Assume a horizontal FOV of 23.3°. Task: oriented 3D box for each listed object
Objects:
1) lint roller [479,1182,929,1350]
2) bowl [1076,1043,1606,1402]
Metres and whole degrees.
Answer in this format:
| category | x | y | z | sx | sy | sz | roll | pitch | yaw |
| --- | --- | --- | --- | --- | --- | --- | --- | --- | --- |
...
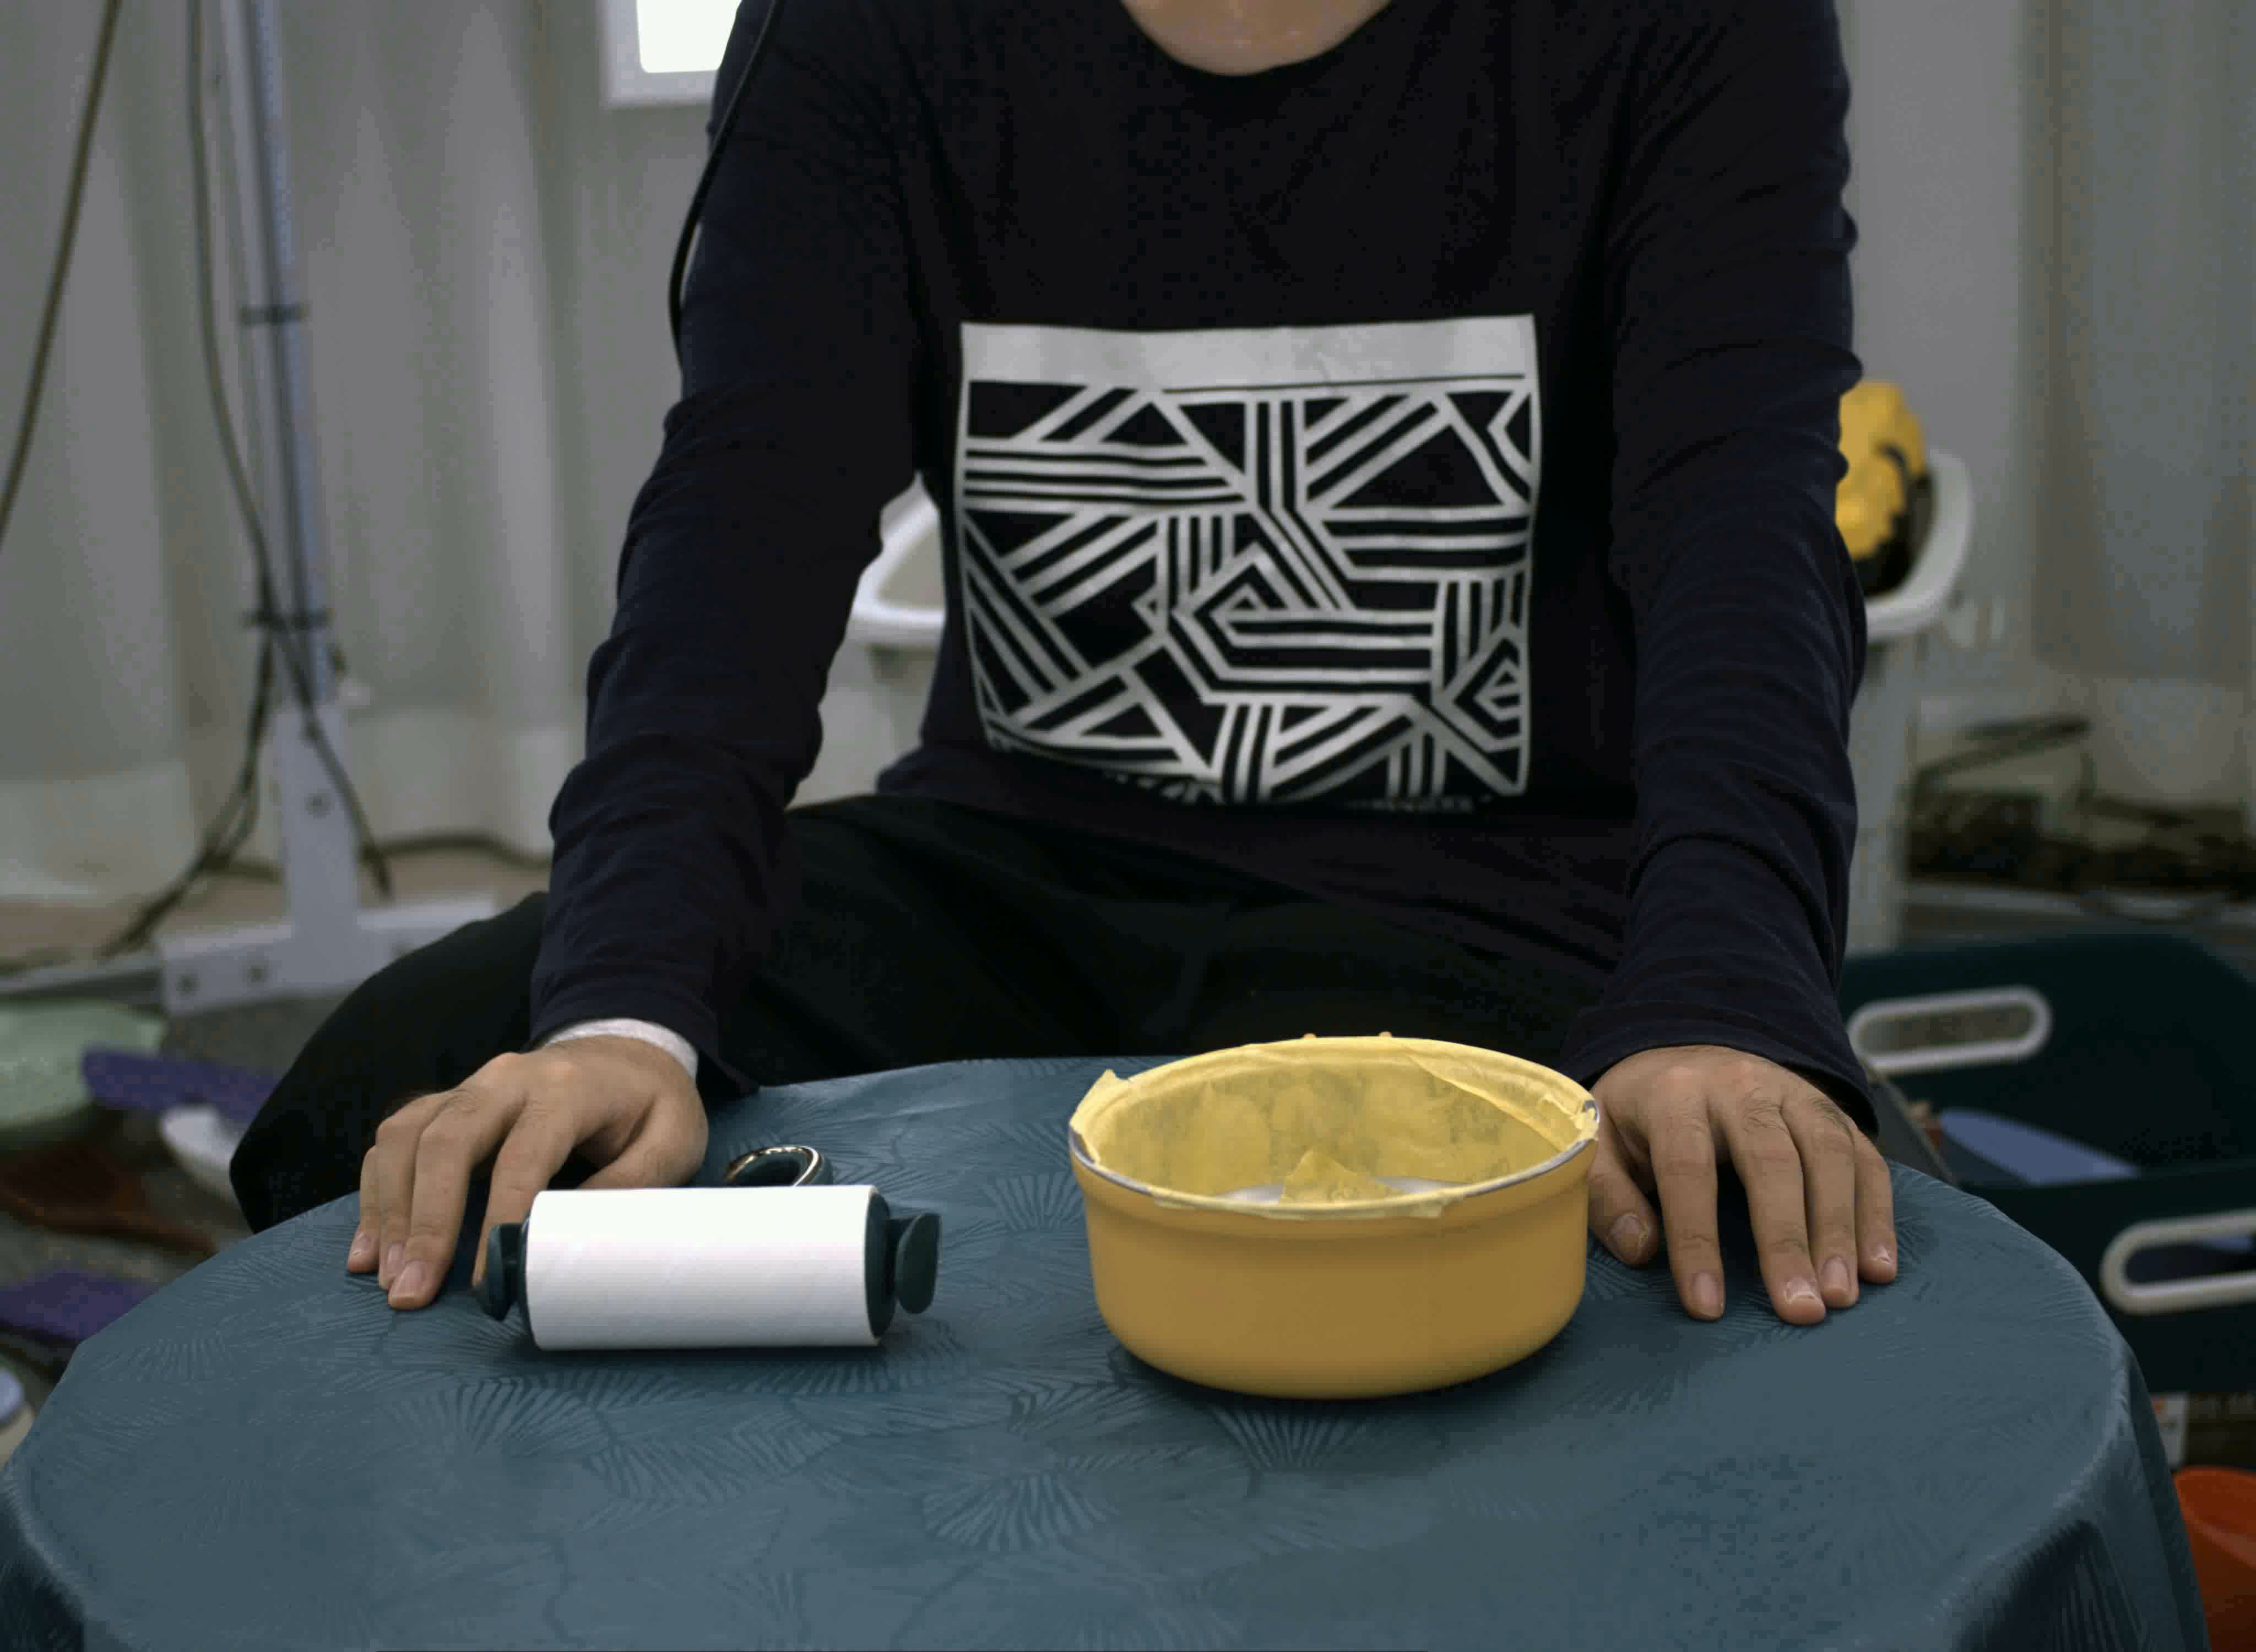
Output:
| category | x | y | z | sx | sy | sz | roll | pitch | yaw |
| --- | --- | --- | --- | --- | --- | --- | --- | --- | --- |
| lint roller | -0.117 | 0.116 | 1.660 | 0.134 | 0.048 | 0.181 | -2 | 10 | 5 |
| bowl | 0.063 | 0.113 | 1.586 | 0.152 | 0.074 | 0.180 | -4 | 15 | 0 |
